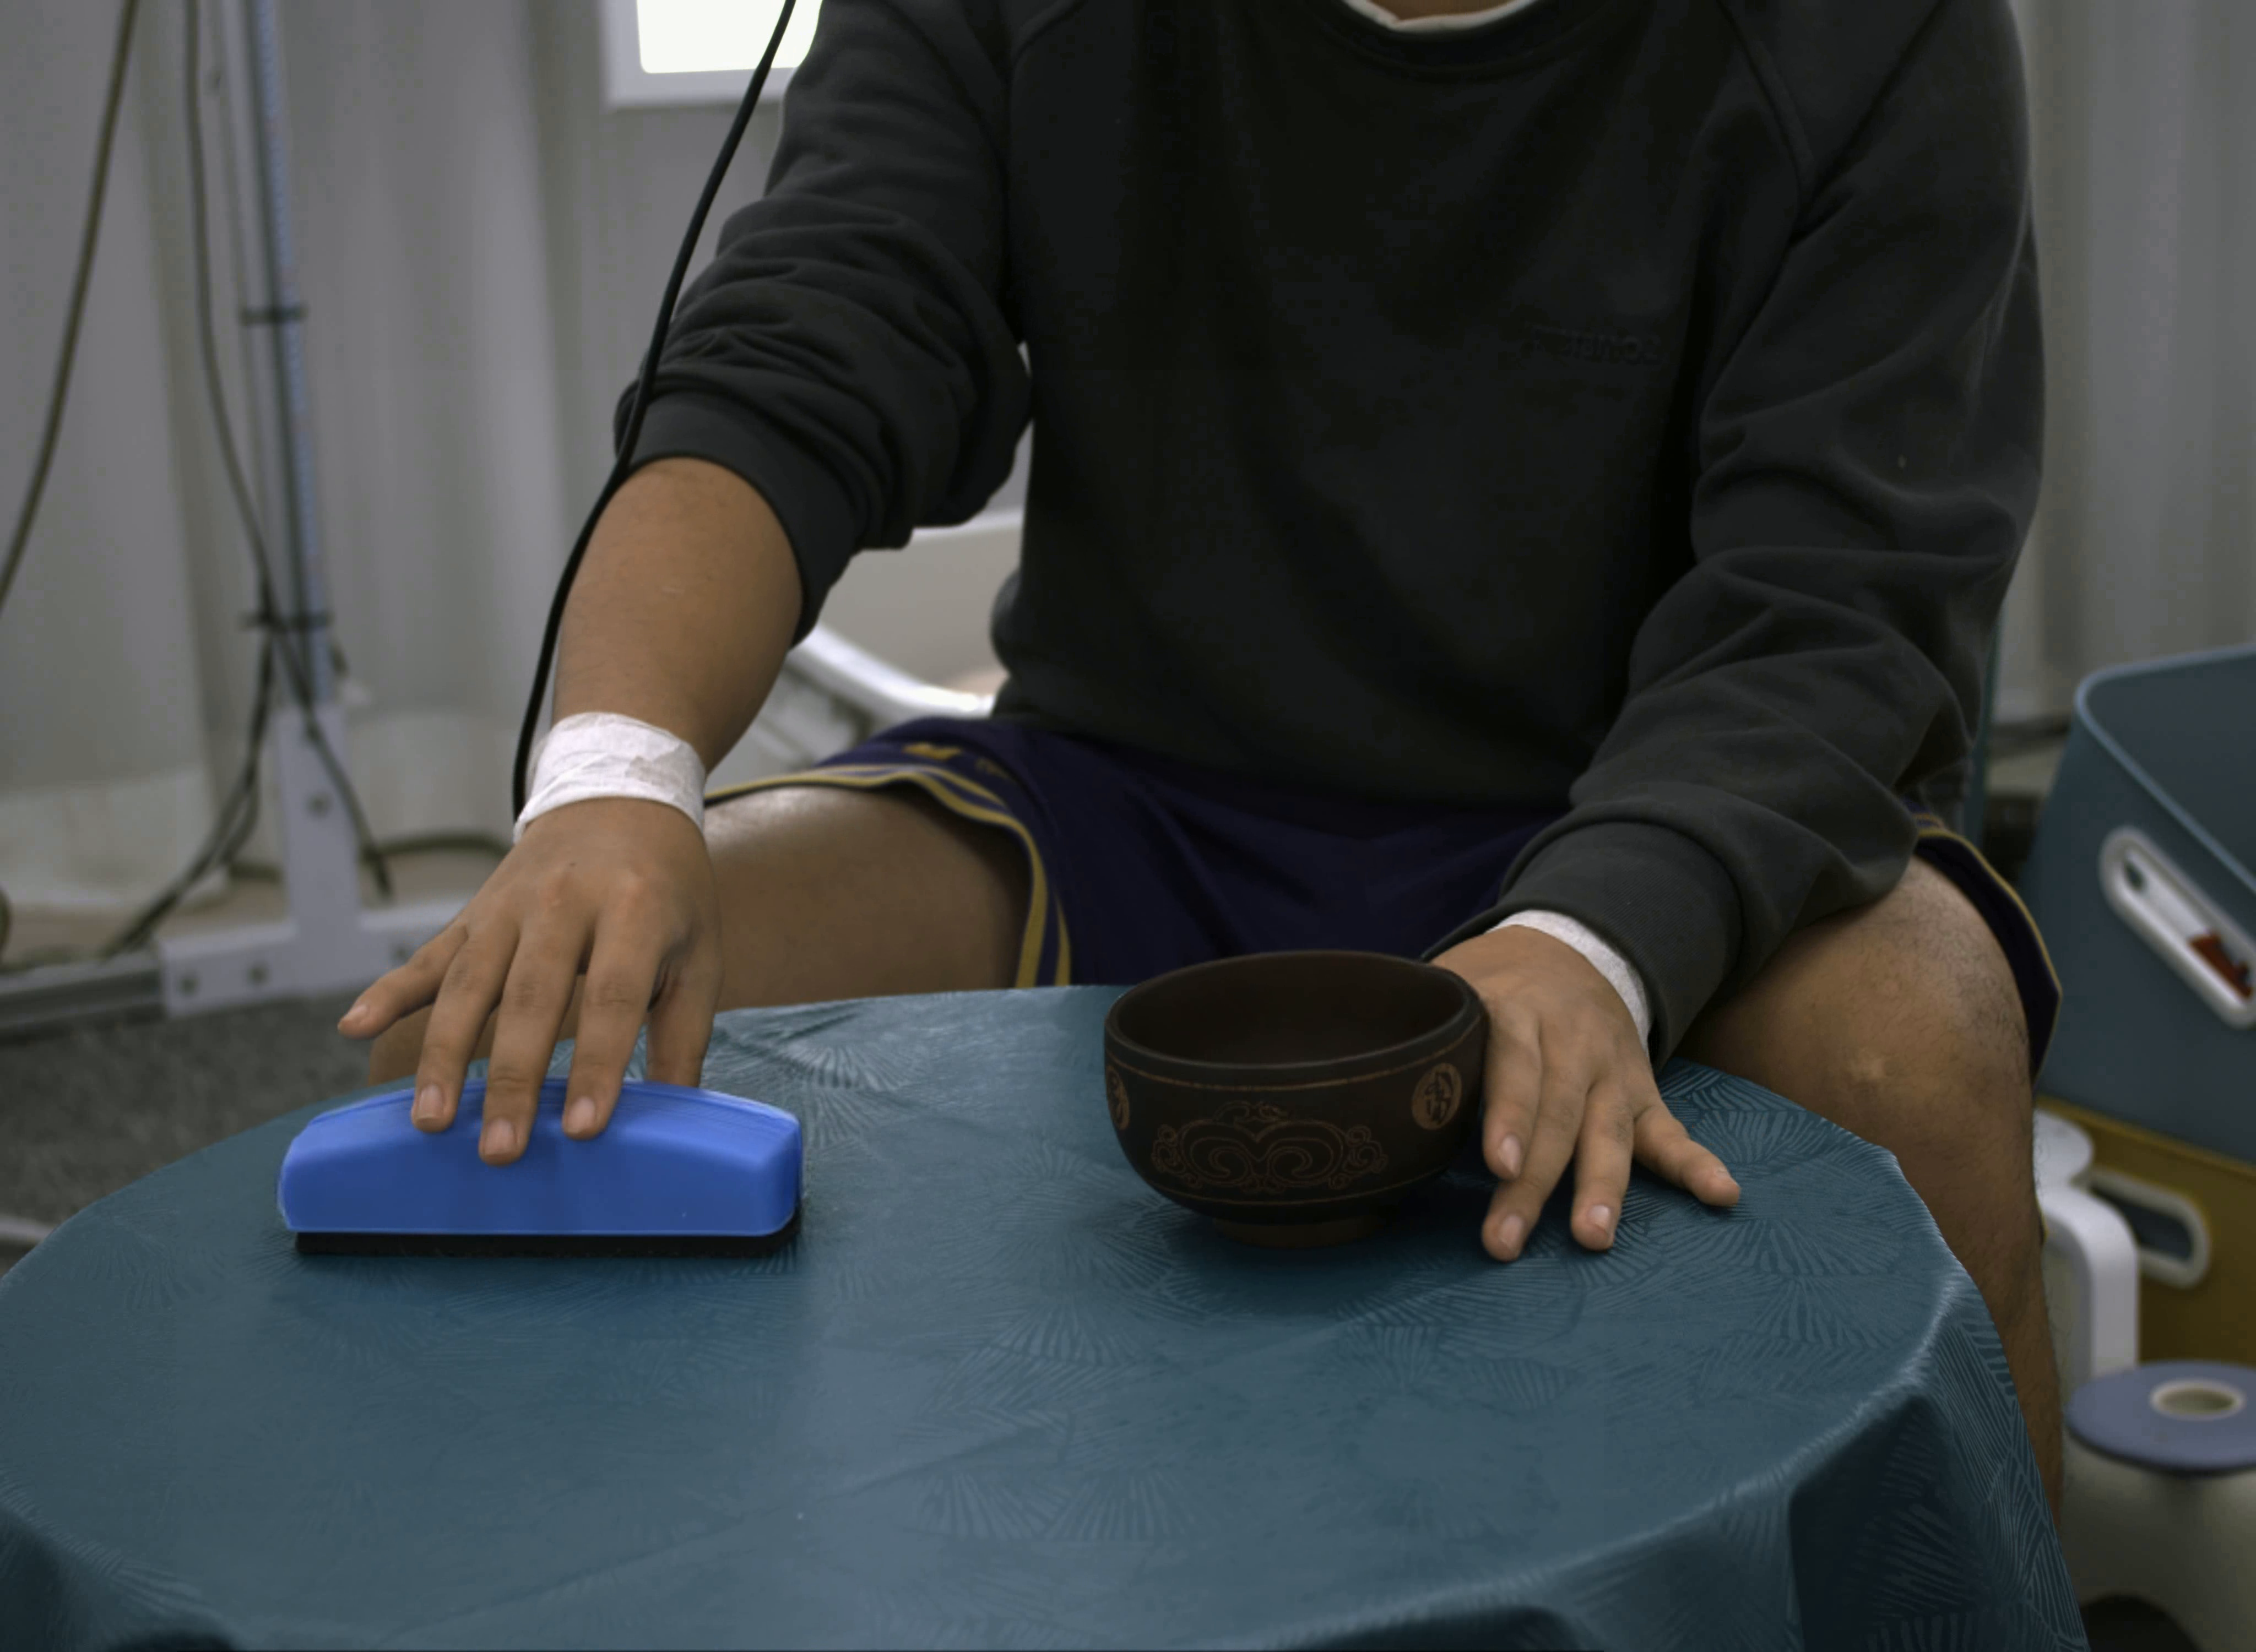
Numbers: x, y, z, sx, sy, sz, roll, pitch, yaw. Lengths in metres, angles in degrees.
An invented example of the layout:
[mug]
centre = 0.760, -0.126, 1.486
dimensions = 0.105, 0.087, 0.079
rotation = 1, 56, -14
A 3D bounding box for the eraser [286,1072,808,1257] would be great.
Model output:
[eraser]
centre = -0.181, 0.105, 1.701
dimensions = 0.162, 0.047, 0.054
rotation = 0, 17, 9

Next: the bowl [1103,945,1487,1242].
[bowl]
centre = 0.052, 0.085, 1.671
dimensions = 0.117, 0.069, 0.119
rotation = -5, 14, 1
